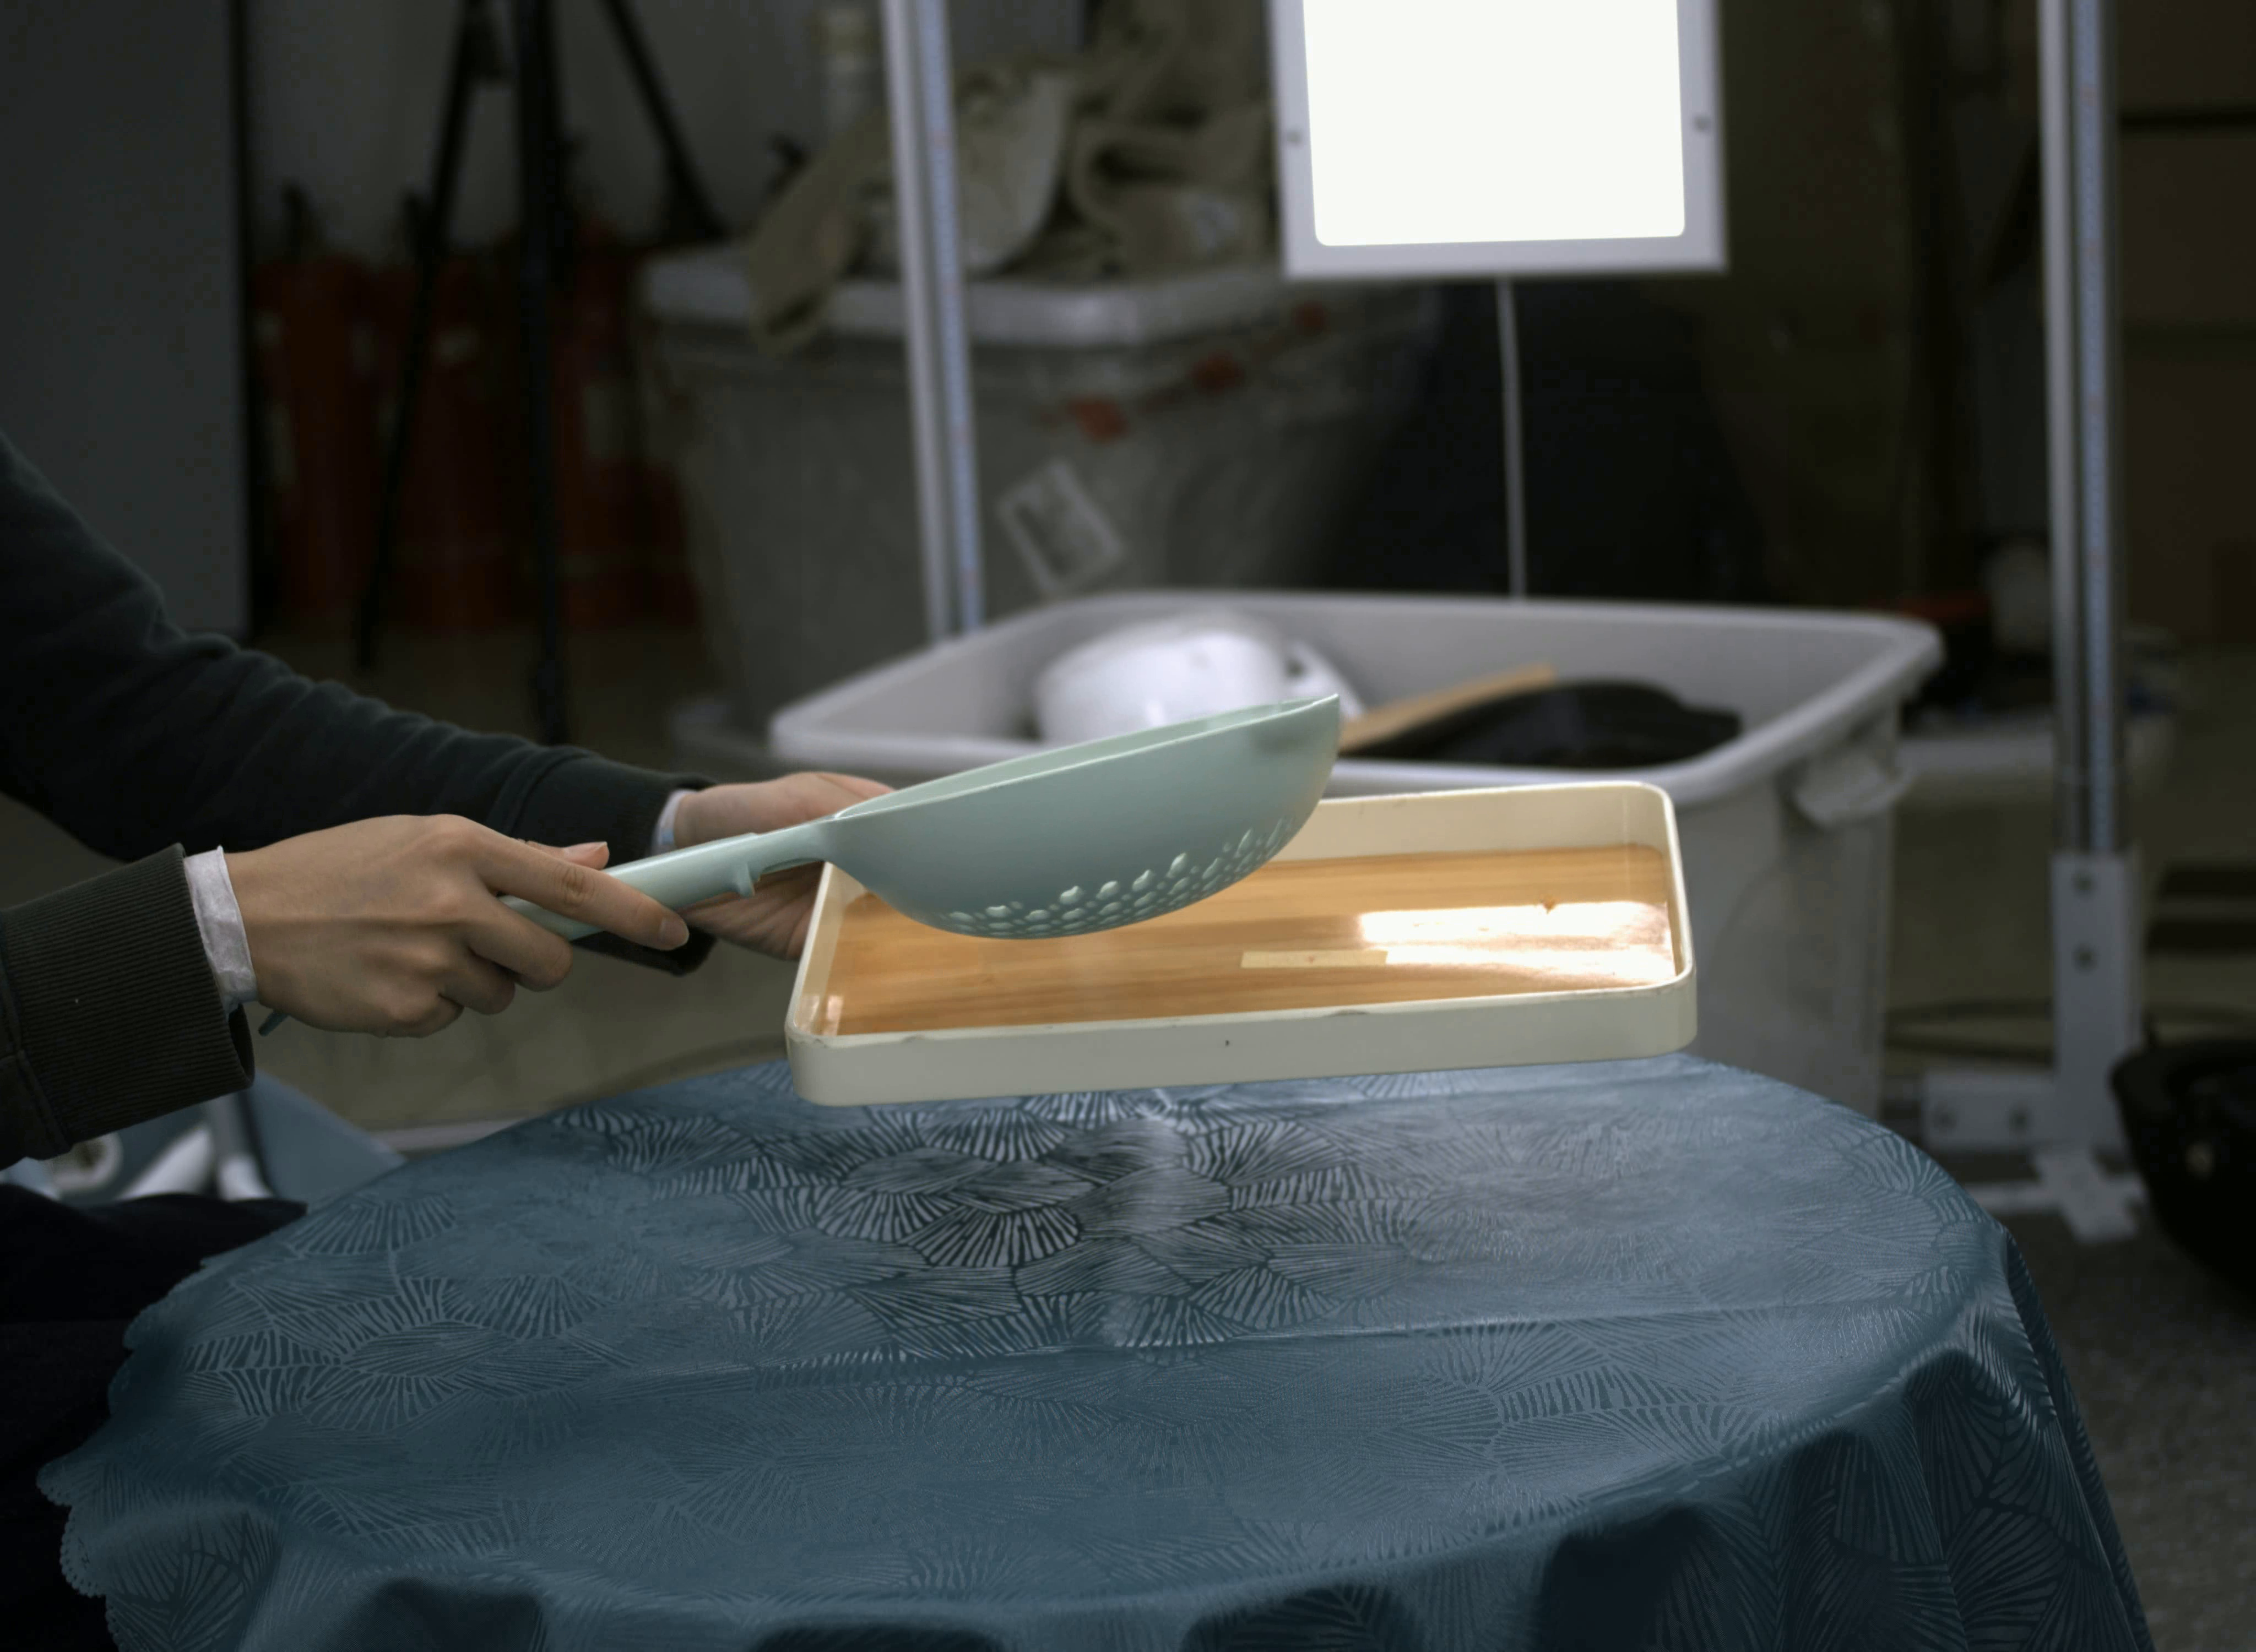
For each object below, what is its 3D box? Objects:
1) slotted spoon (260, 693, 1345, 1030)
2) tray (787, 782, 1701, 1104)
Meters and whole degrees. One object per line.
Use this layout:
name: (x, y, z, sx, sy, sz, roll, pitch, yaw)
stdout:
slotted spoon: (-0.104, 0.011, 1.777, 0.357, 0.075, 0.169, -6, 1, -1)
tray: (0.041, 0.038, 1.865, 0.301, 0.027, 0.190, -4, 21, 6)
